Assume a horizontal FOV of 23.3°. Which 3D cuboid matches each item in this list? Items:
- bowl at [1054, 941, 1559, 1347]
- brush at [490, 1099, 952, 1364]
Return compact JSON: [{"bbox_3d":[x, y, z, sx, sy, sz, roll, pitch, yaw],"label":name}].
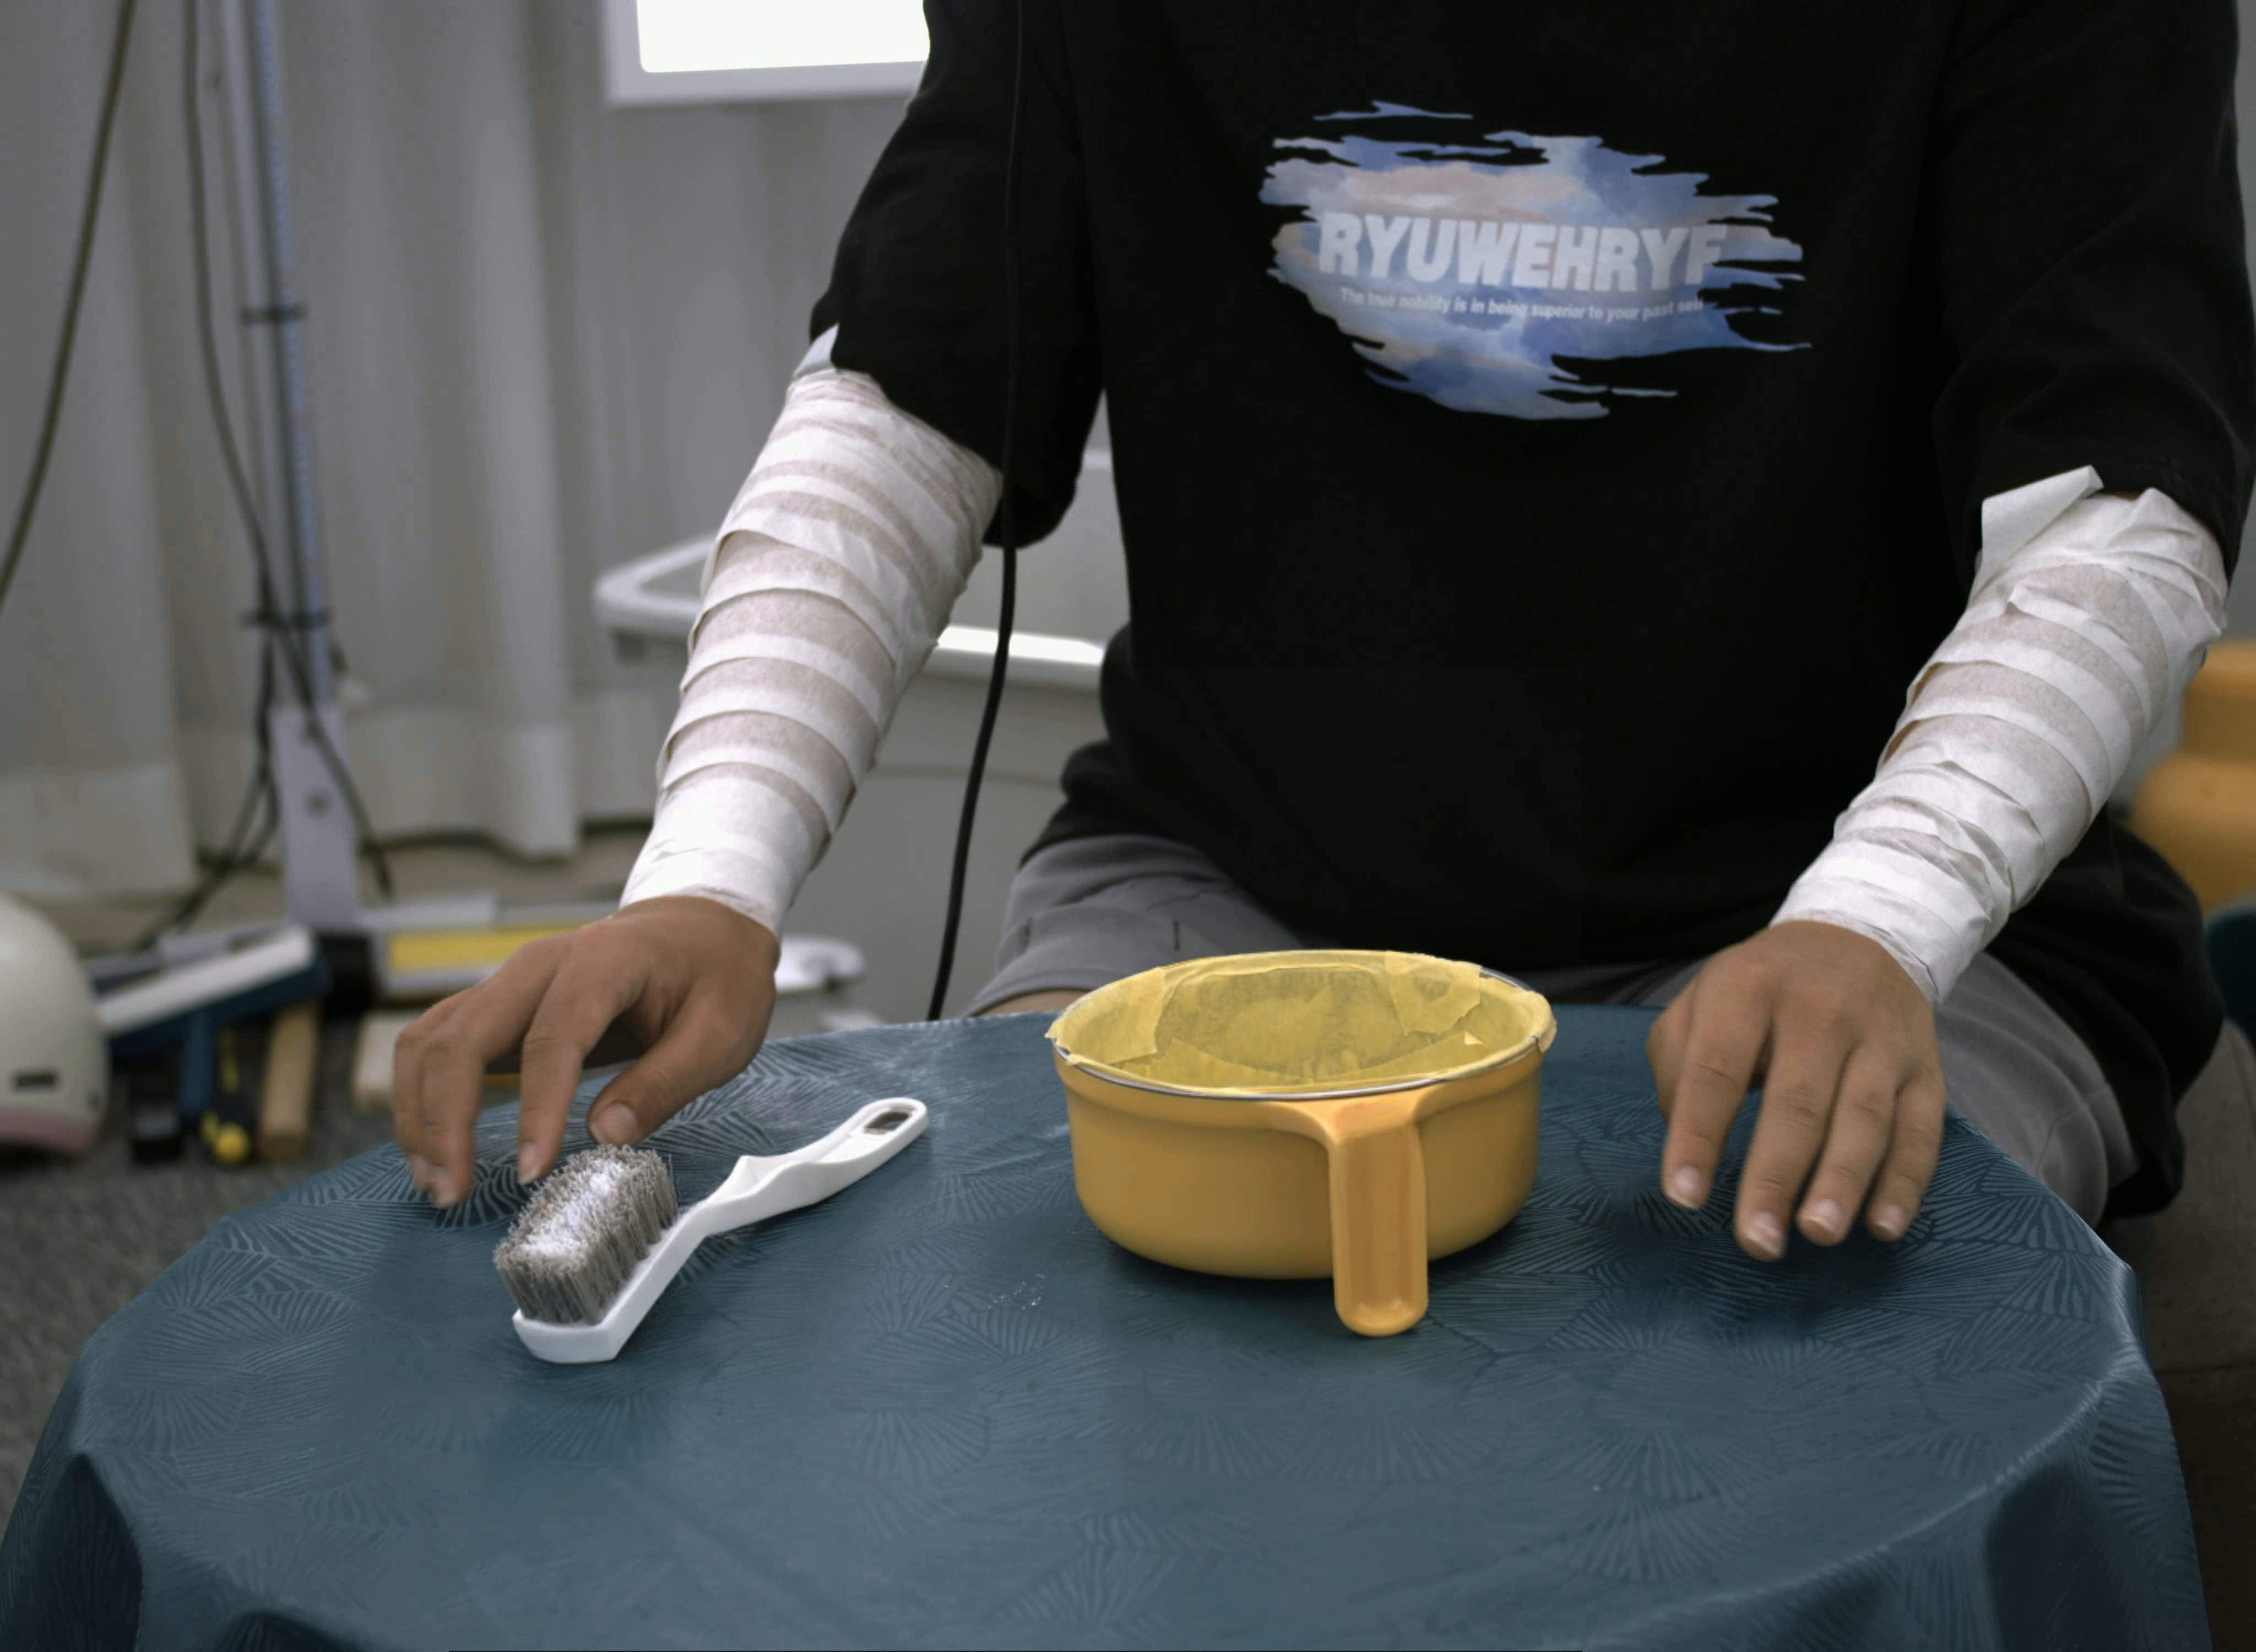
[{"bbox_3d":[0.055,0.093,1.651,0.152,0.074,0.181,-2,15,-14],"label":"bowl"},{"bbox_3d":[-0.119,0.105,1.677,0.034,0.050,0.244,2,16,27],"label":"brush"}]
